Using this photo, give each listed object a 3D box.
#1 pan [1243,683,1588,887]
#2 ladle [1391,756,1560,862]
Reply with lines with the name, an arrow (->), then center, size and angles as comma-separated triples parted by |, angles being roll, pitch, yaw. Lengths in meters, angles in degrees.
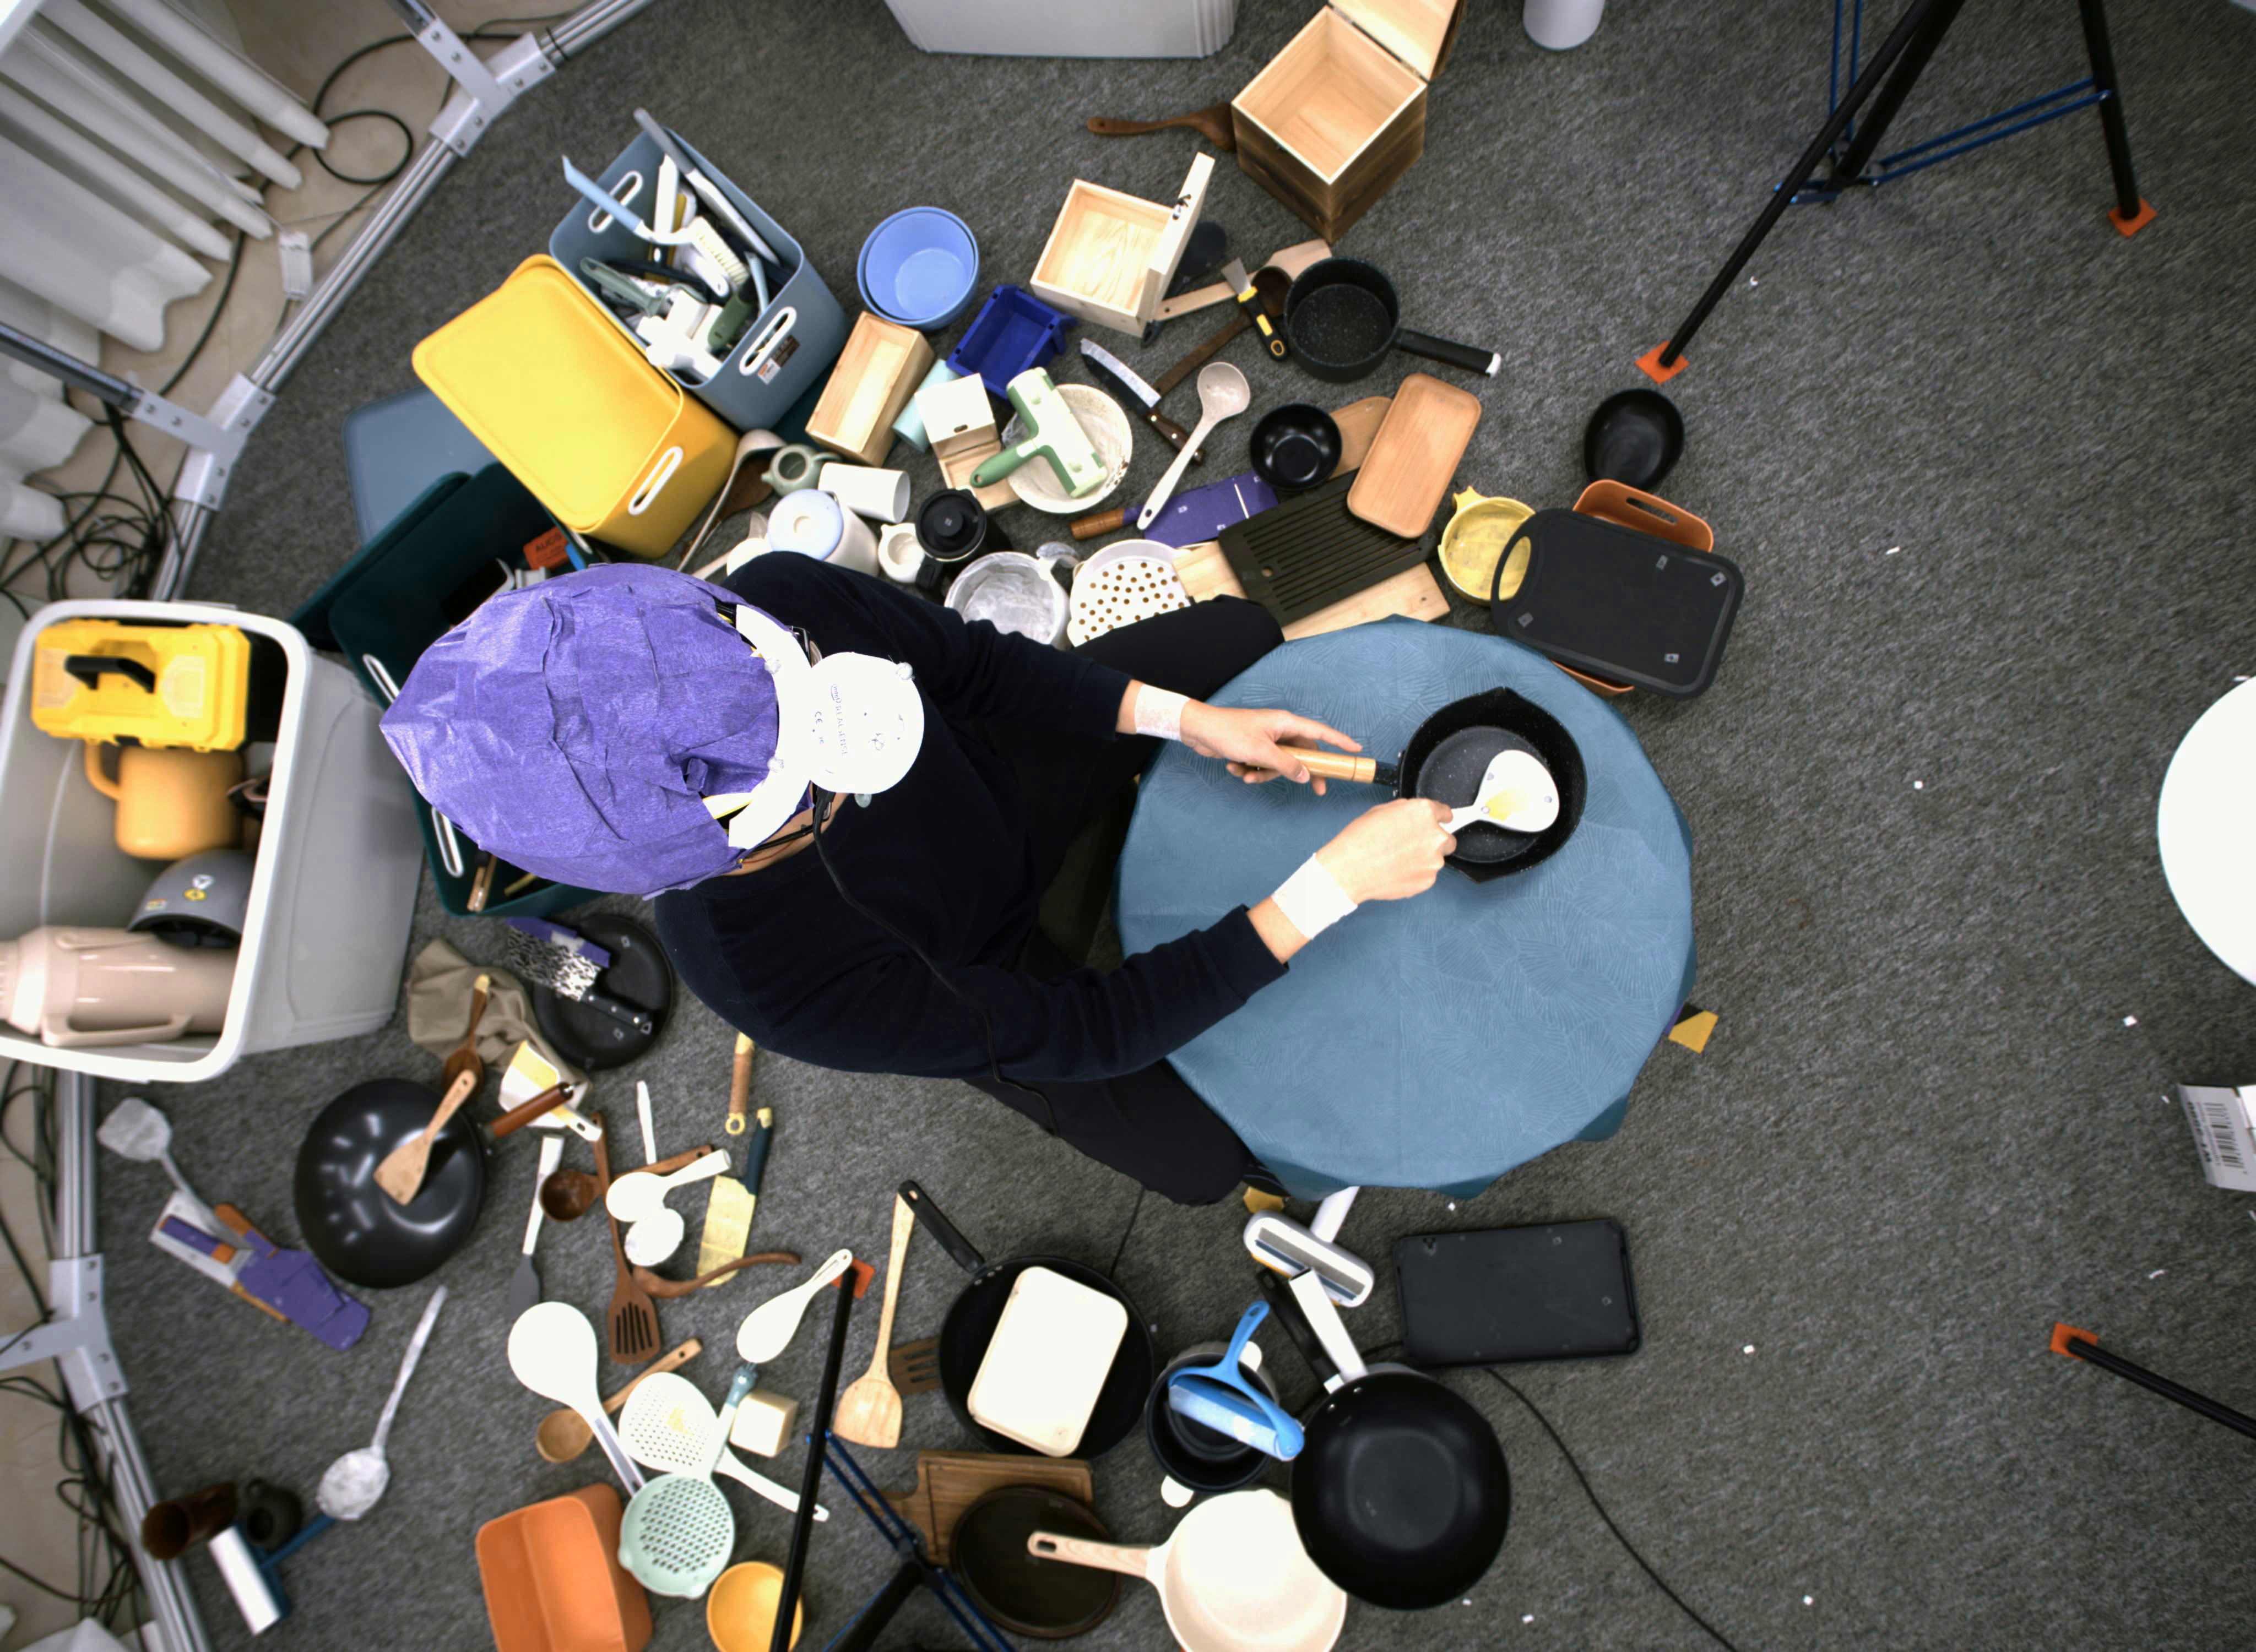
pan -> 0.289, -0.049, 1.408 | 0.344, 0.108, 0.207 | 6, 88, 9
ladle -> 0.339, -0.012, 1.319 | 0.071, 0.289, 0.090 | -23, 85, 34
